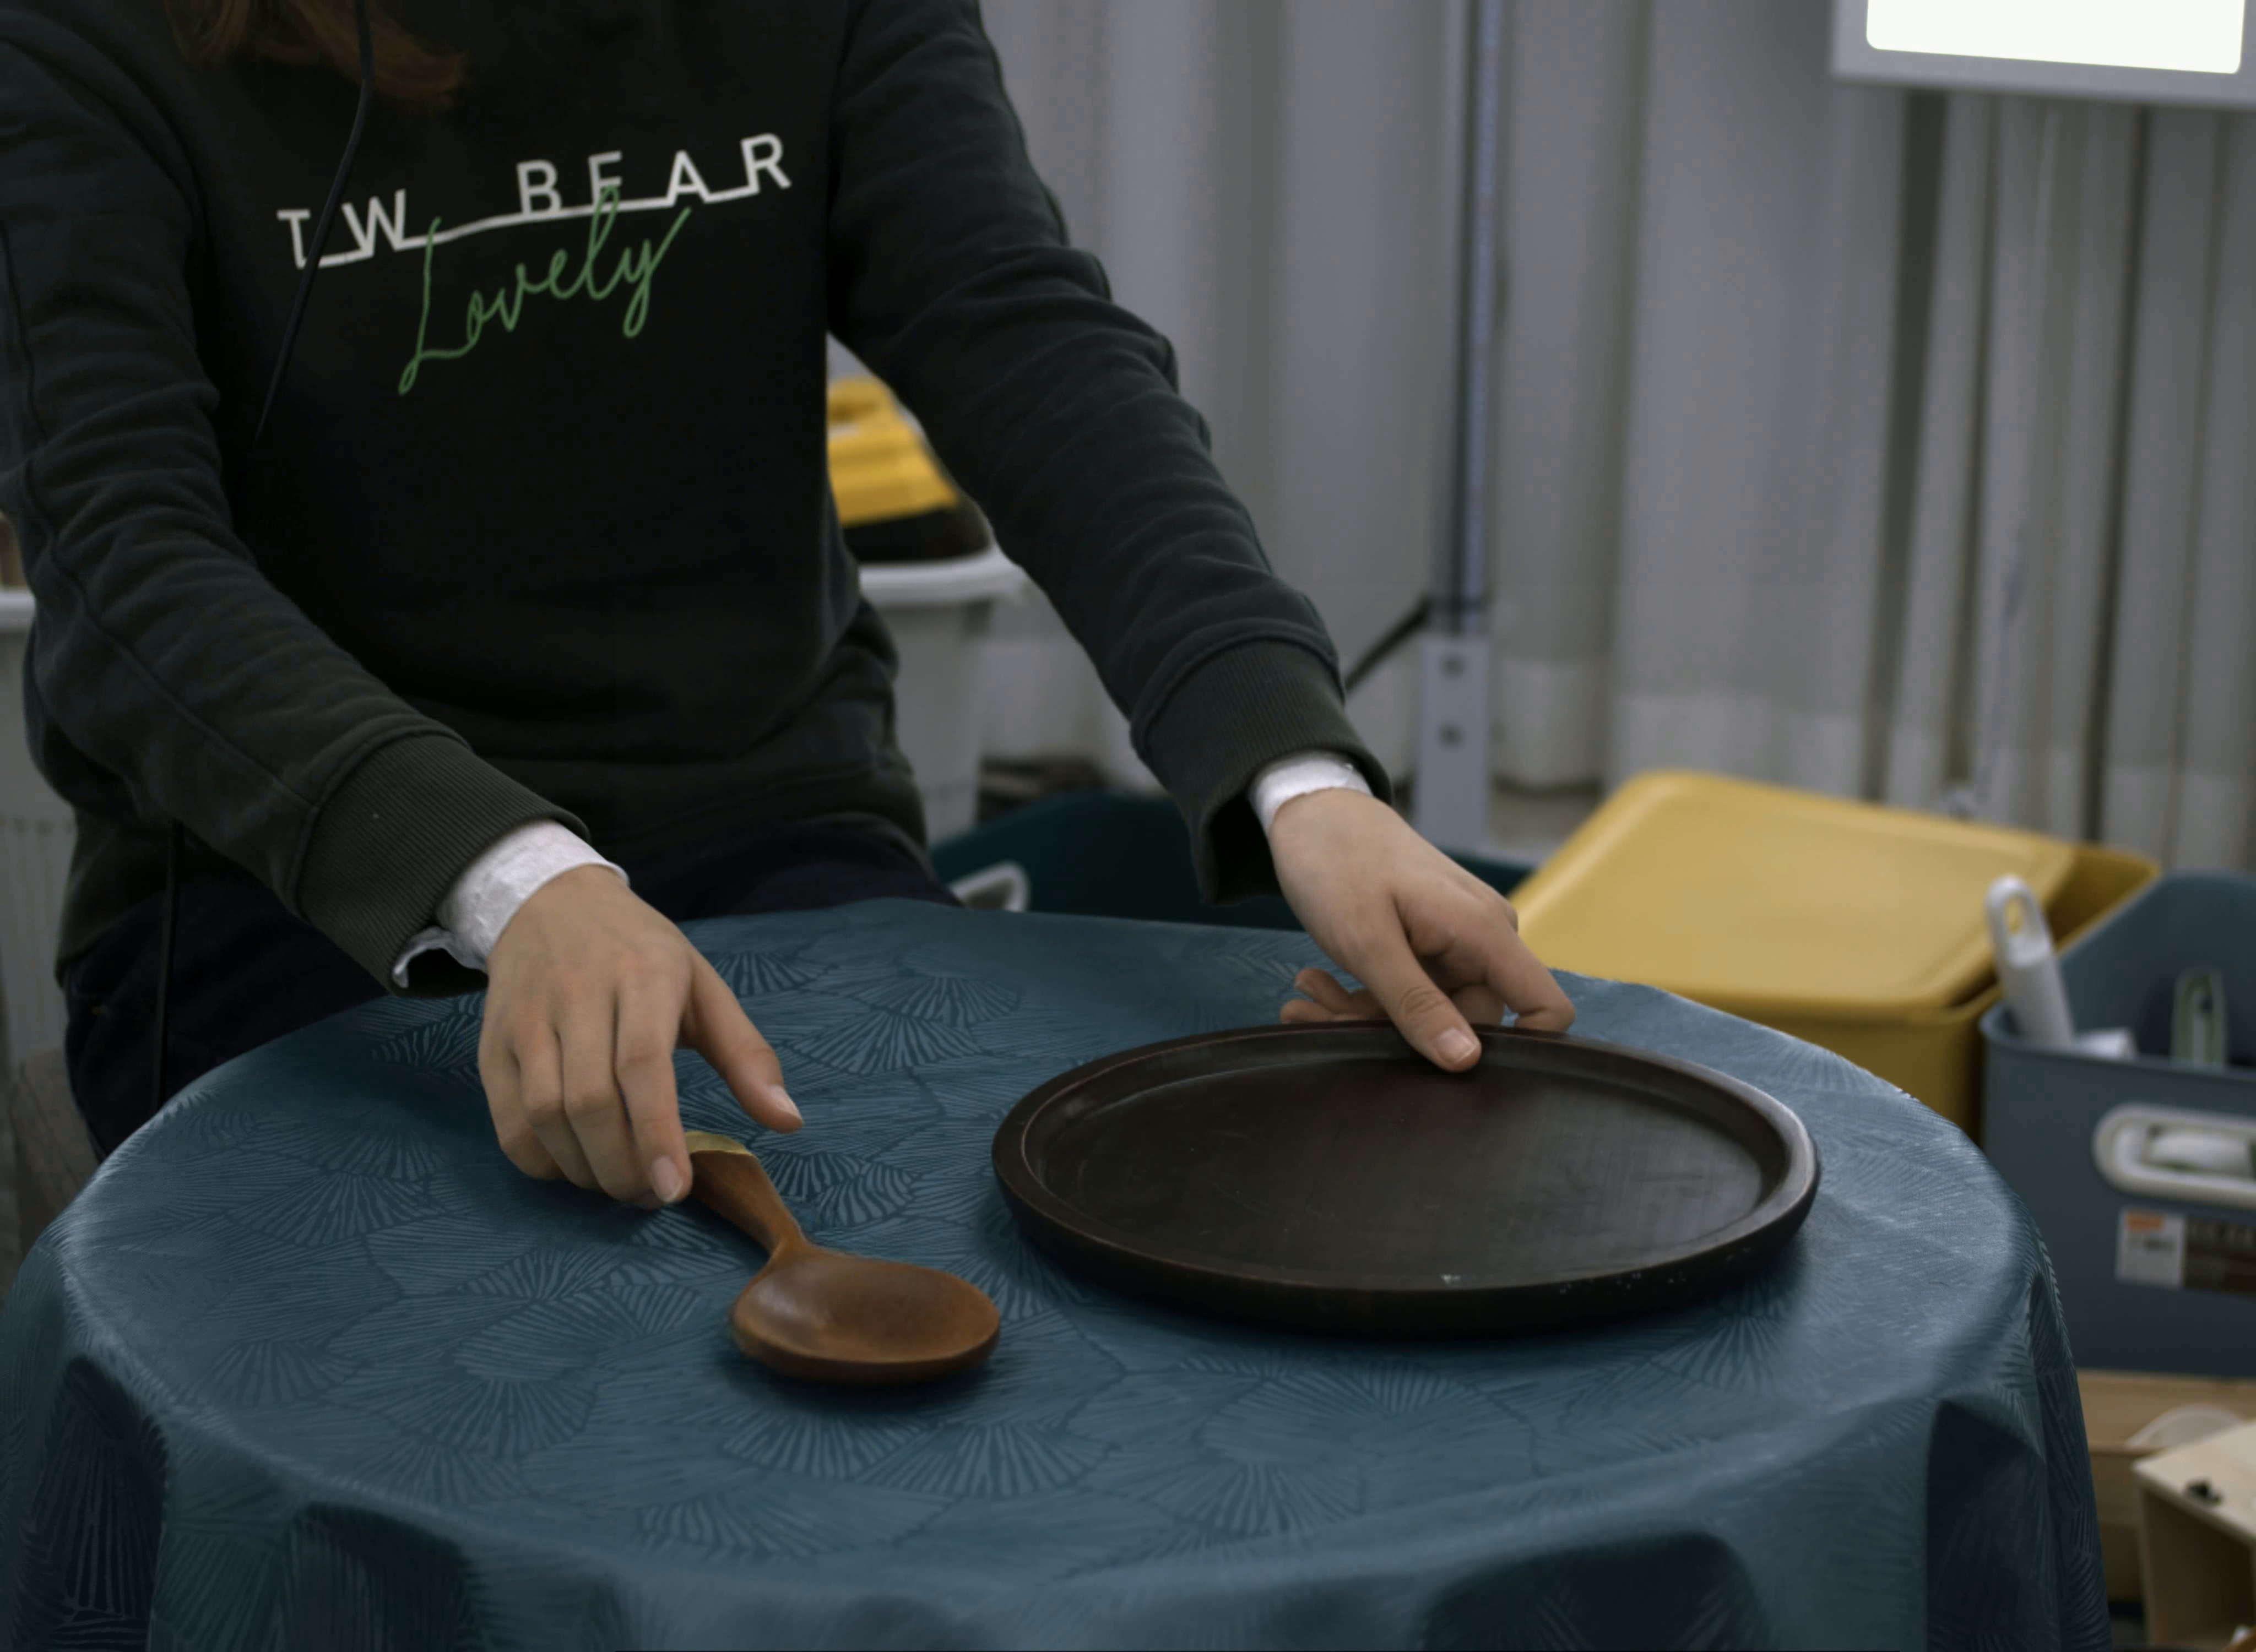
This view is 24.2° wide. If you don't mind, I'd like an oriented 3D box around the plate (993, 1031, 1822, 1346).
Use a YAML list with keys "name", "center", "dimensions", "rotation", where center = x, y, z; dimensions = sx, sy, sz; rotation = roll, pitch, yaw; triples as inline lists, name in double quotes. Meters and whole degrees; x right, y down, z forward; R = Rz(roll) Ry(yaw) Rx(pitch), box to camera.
- name: "plate"
  center: [0.085, 0.107, 1.609]
  dimensions: [0.254, 0.029, 0.253]
  rotation: [2, 16, 0]

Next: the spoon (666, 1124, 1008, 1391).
- name: "spoon"
  center: [-0.095, 0.127, 1.541]
  dimensions: [0.075, 0.017, 0.213]
  rotation: [-6, 17, -20]
